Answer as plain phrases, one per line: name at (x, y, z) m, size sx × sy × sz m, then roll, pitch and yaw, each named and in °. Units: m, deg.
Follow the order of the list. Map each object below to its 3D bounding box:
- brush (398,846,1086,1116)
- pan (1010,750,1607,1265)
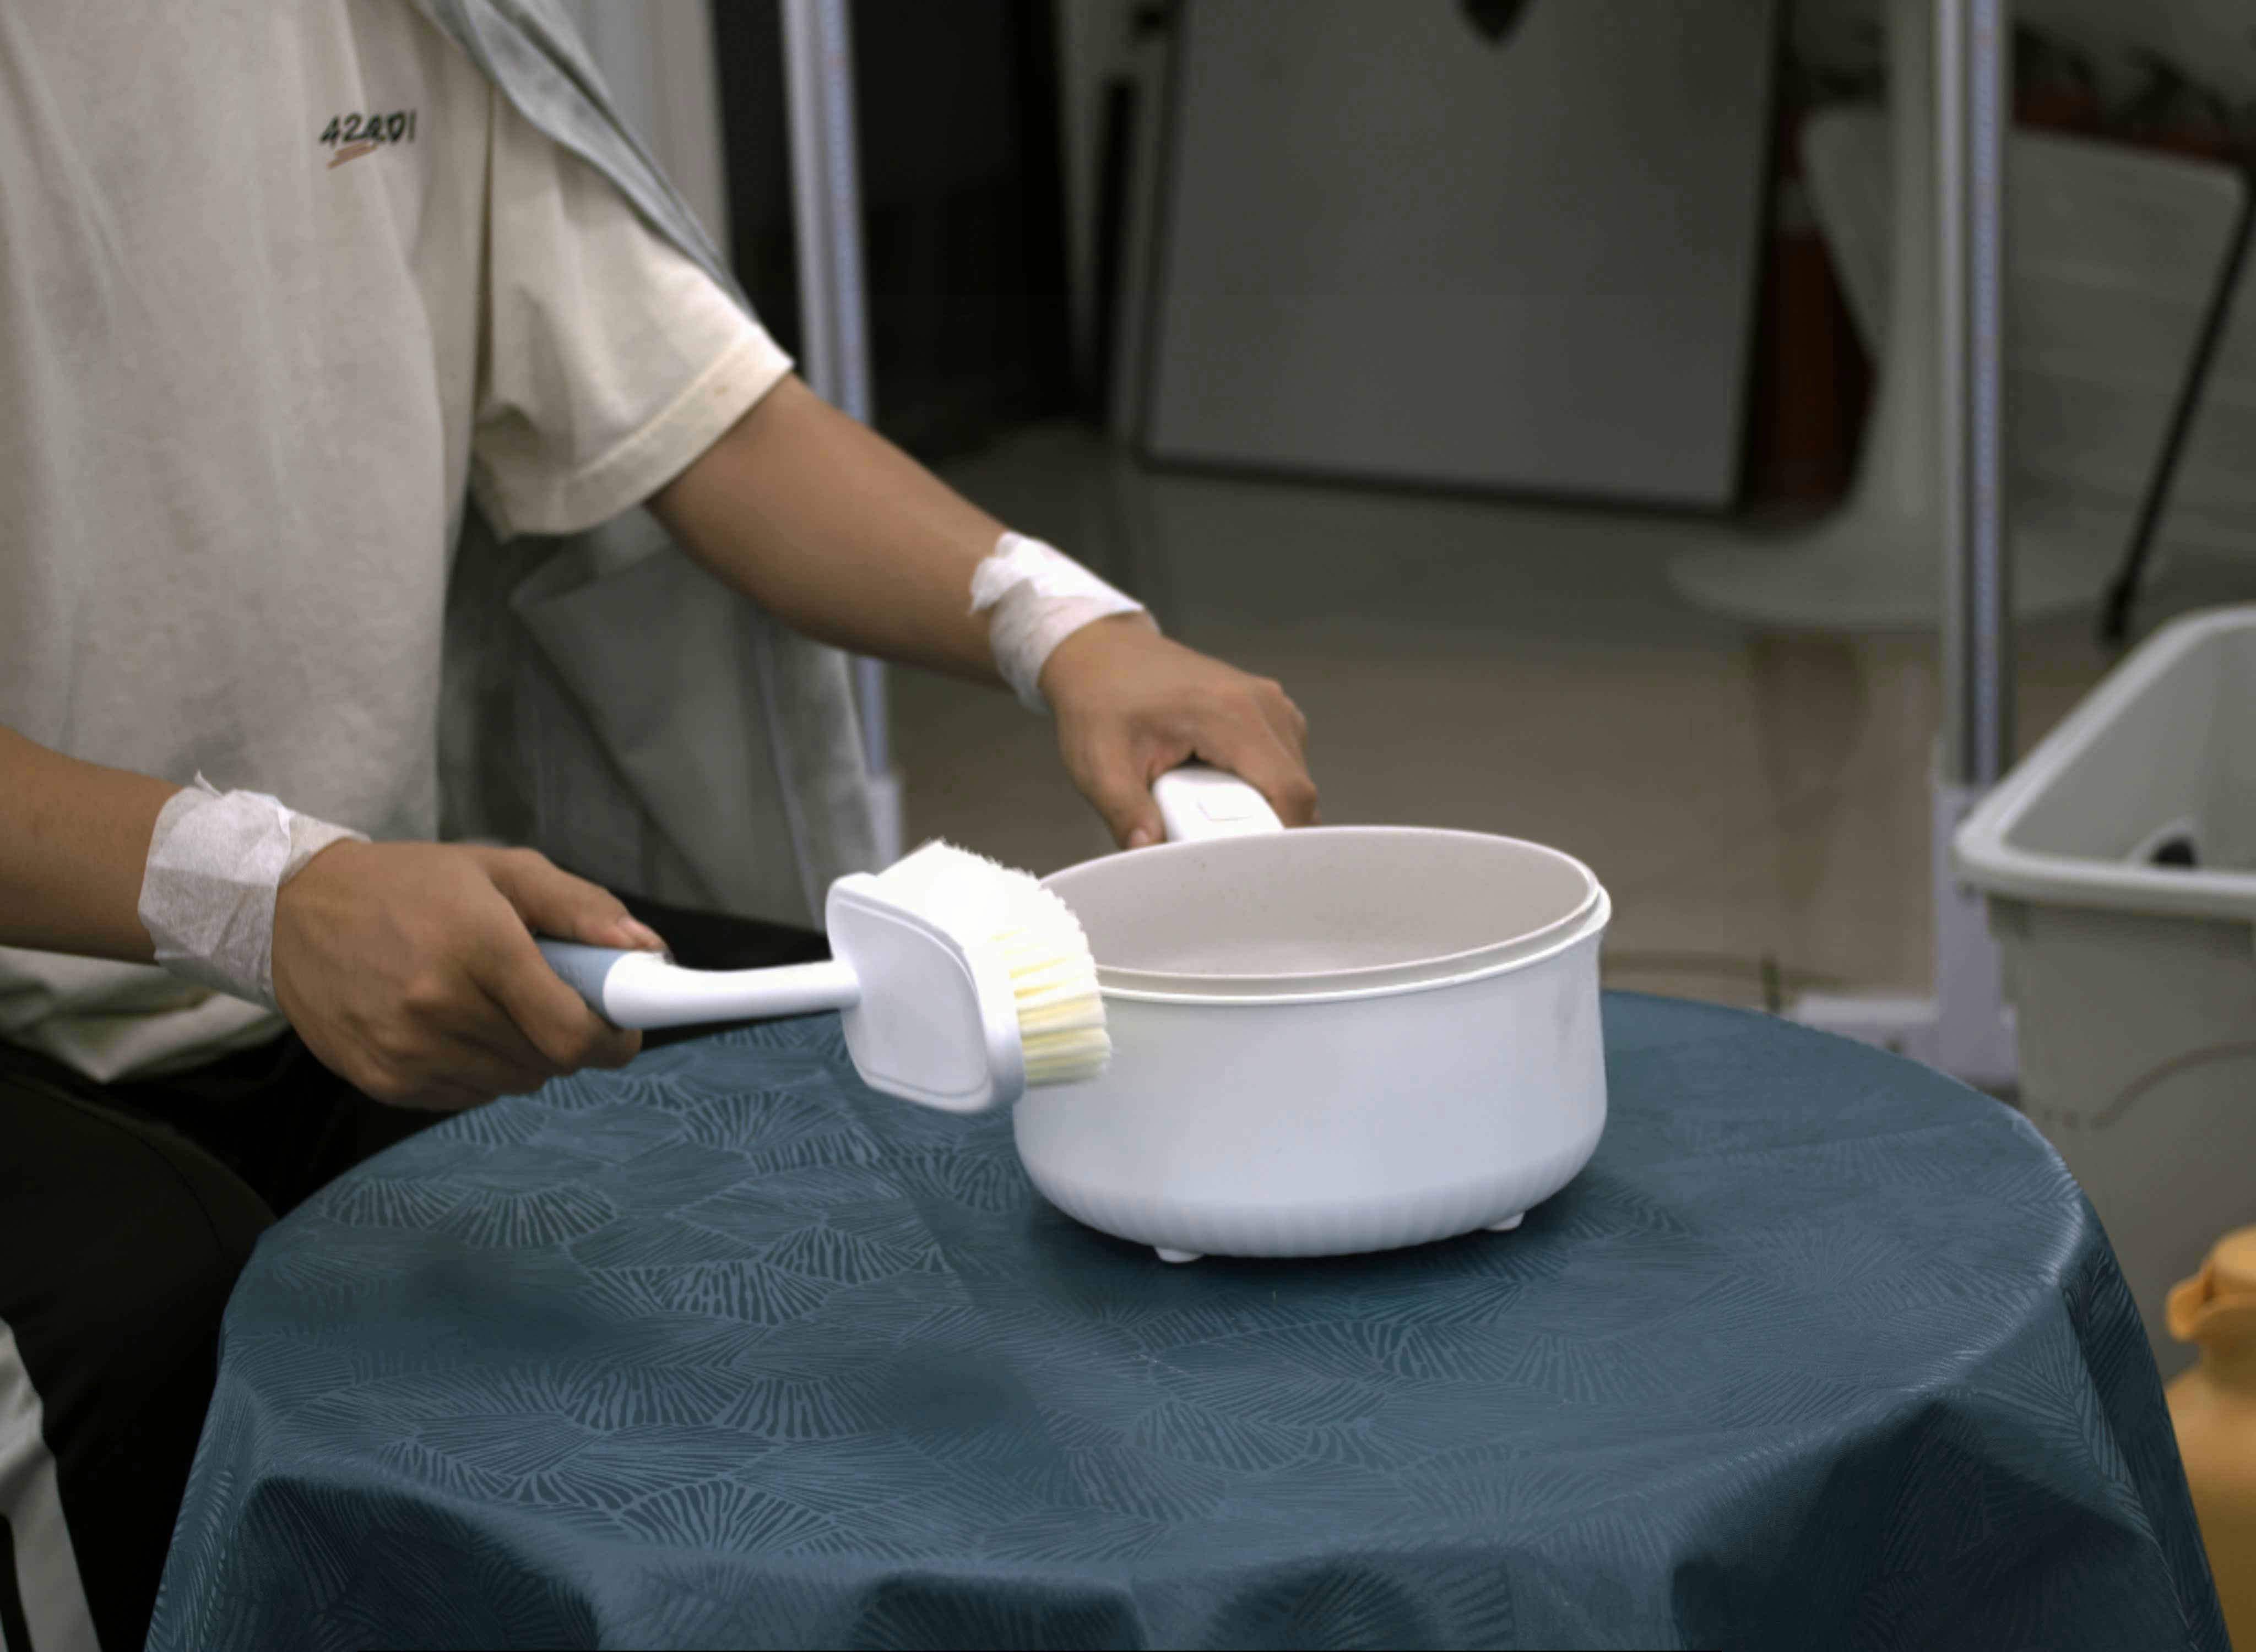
brush at (-0.112, 0.041, 1.688) m, size 0.083 × 0.084 × 0.329 m, roll 31°, pitch -16°, yaw -35°
pan at (0.048, 0.056, 1.816) m, size 0.198 × 0.103 × 0.356 m, roll -5°, pitch 12°, yaw -6°
